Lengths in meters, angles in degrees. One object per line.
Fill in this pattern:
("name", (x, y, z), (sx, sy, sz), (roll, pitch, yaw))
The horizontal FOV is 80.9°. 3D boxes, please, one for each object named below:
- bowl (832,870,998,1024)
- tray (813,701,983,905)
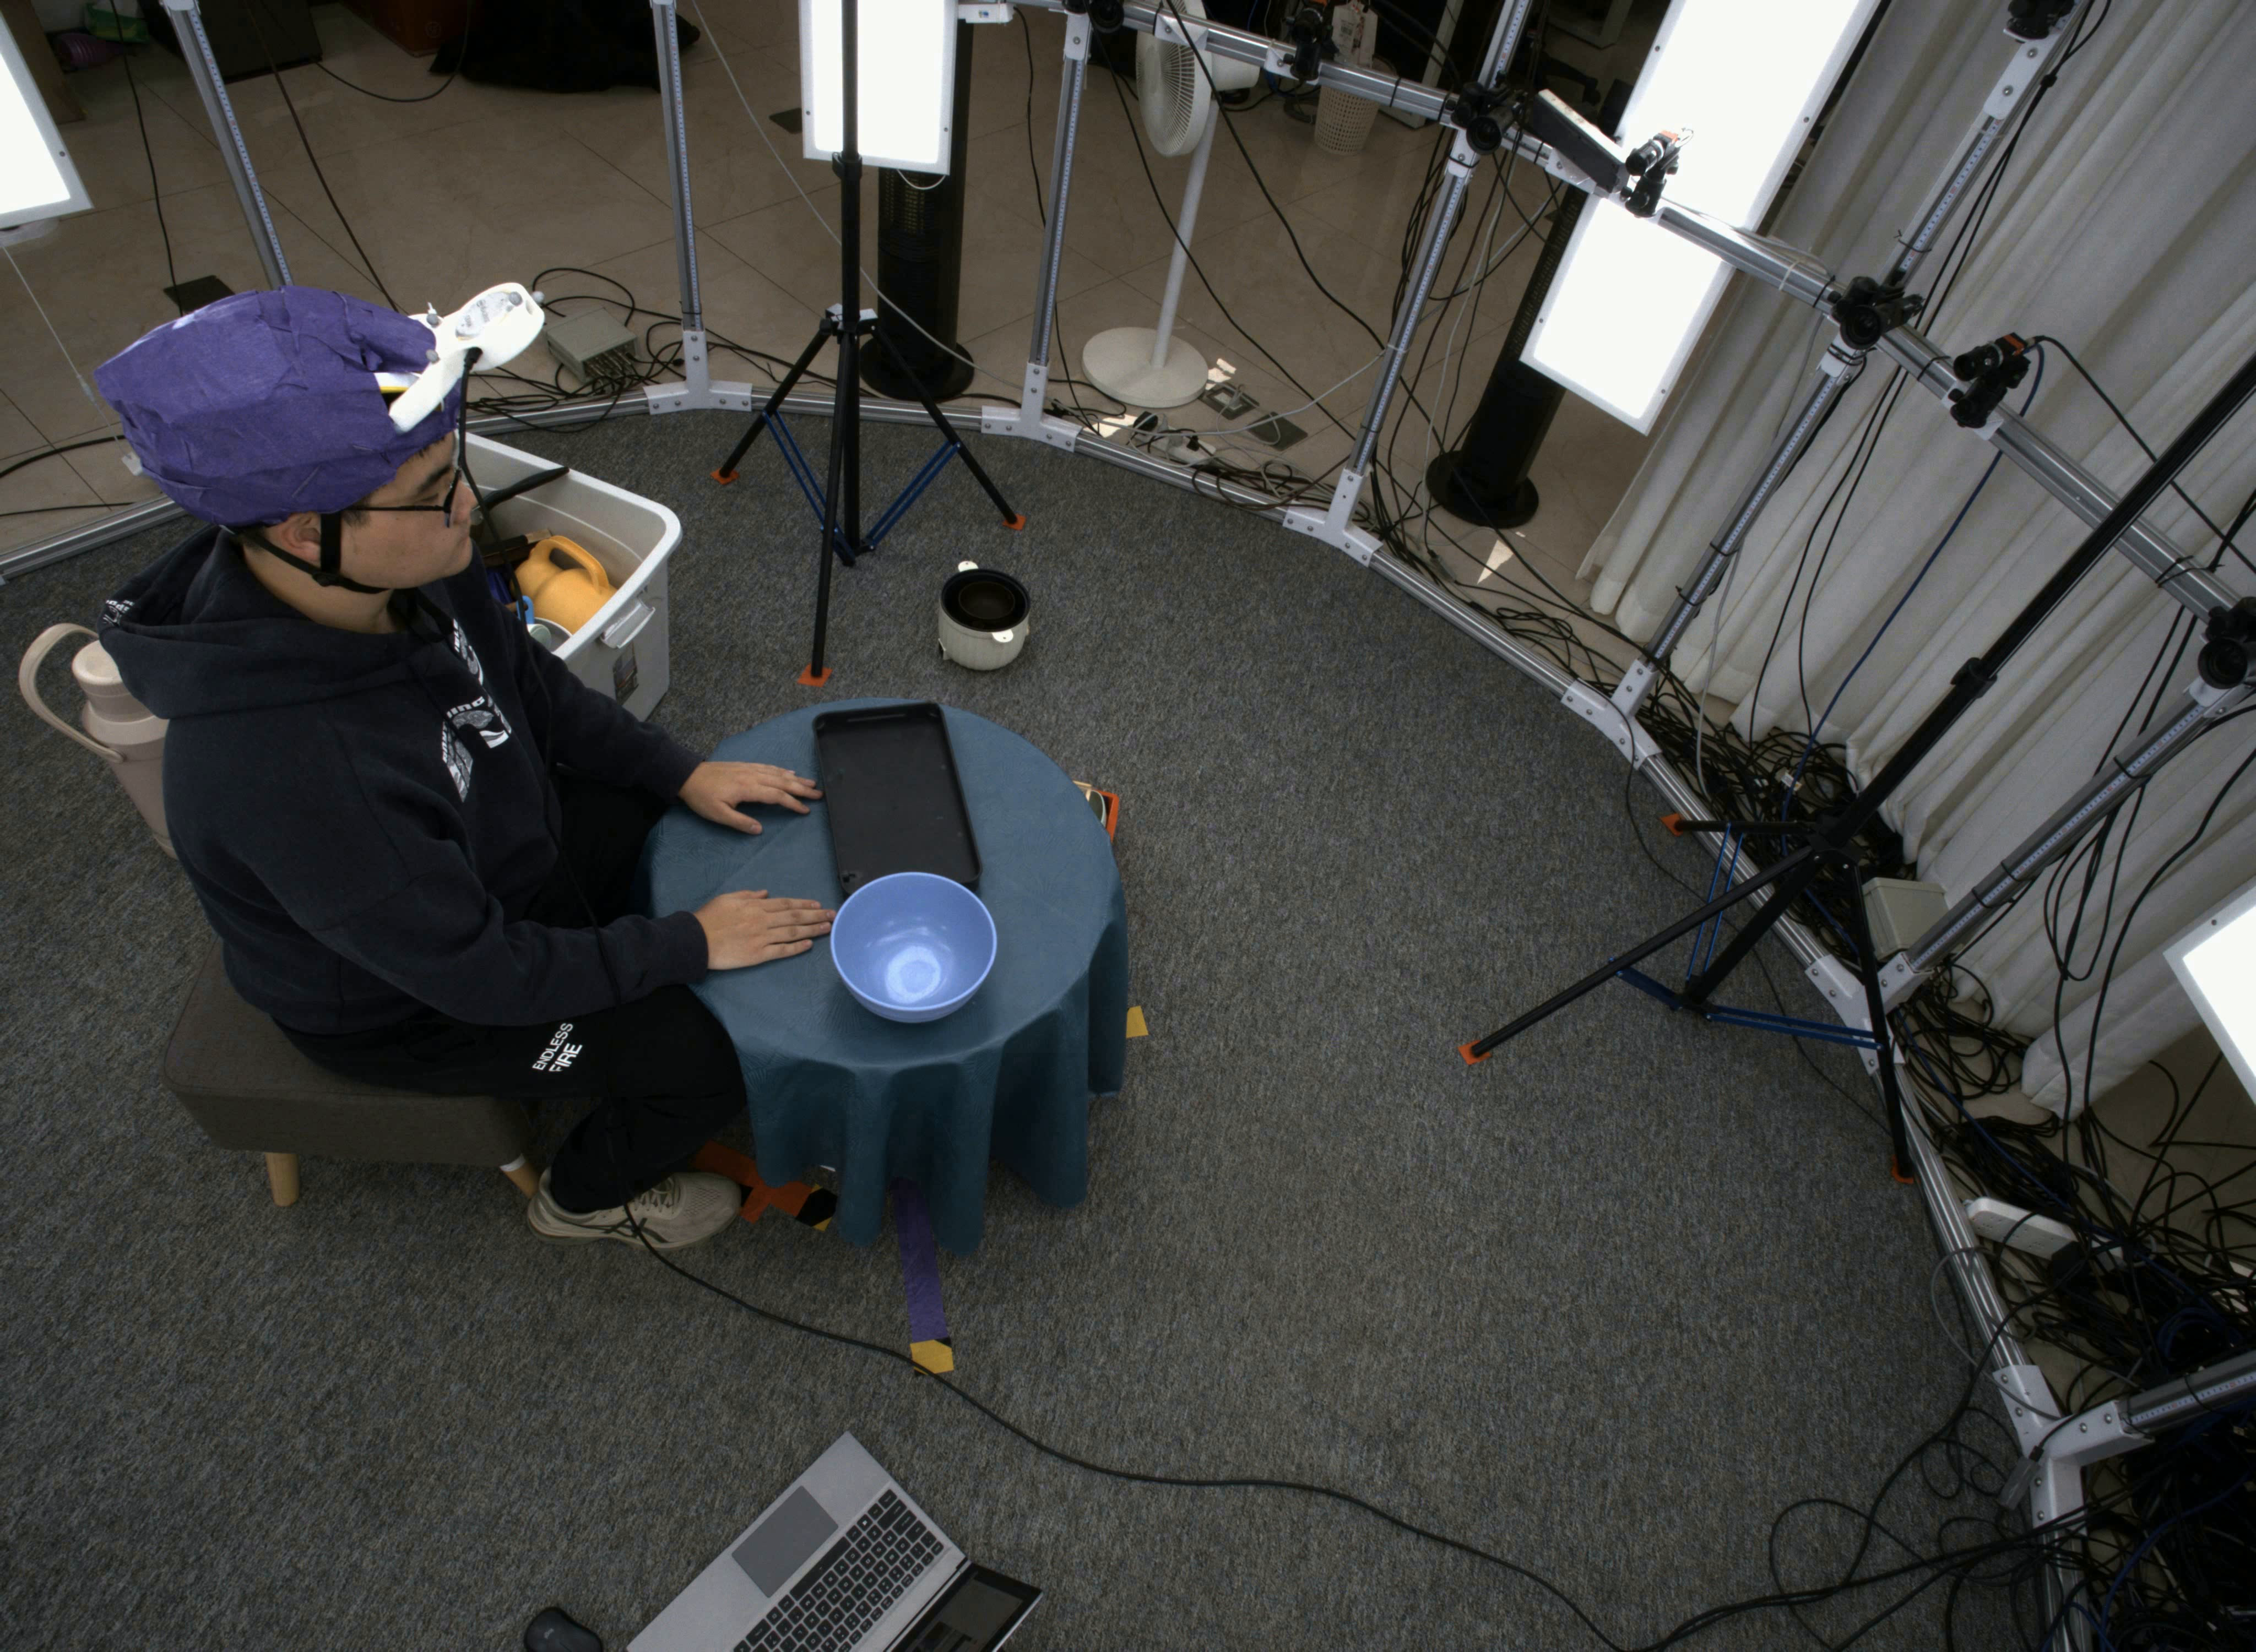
("bowl", (-0.259, 0.159, 1.578), (0.196, 0.097, 0.193), (8, 54, -9))
("tray", (-0.313, -0.034, 1.749), (0.185, 0.038, 0.310), (-7, 56, -18))
